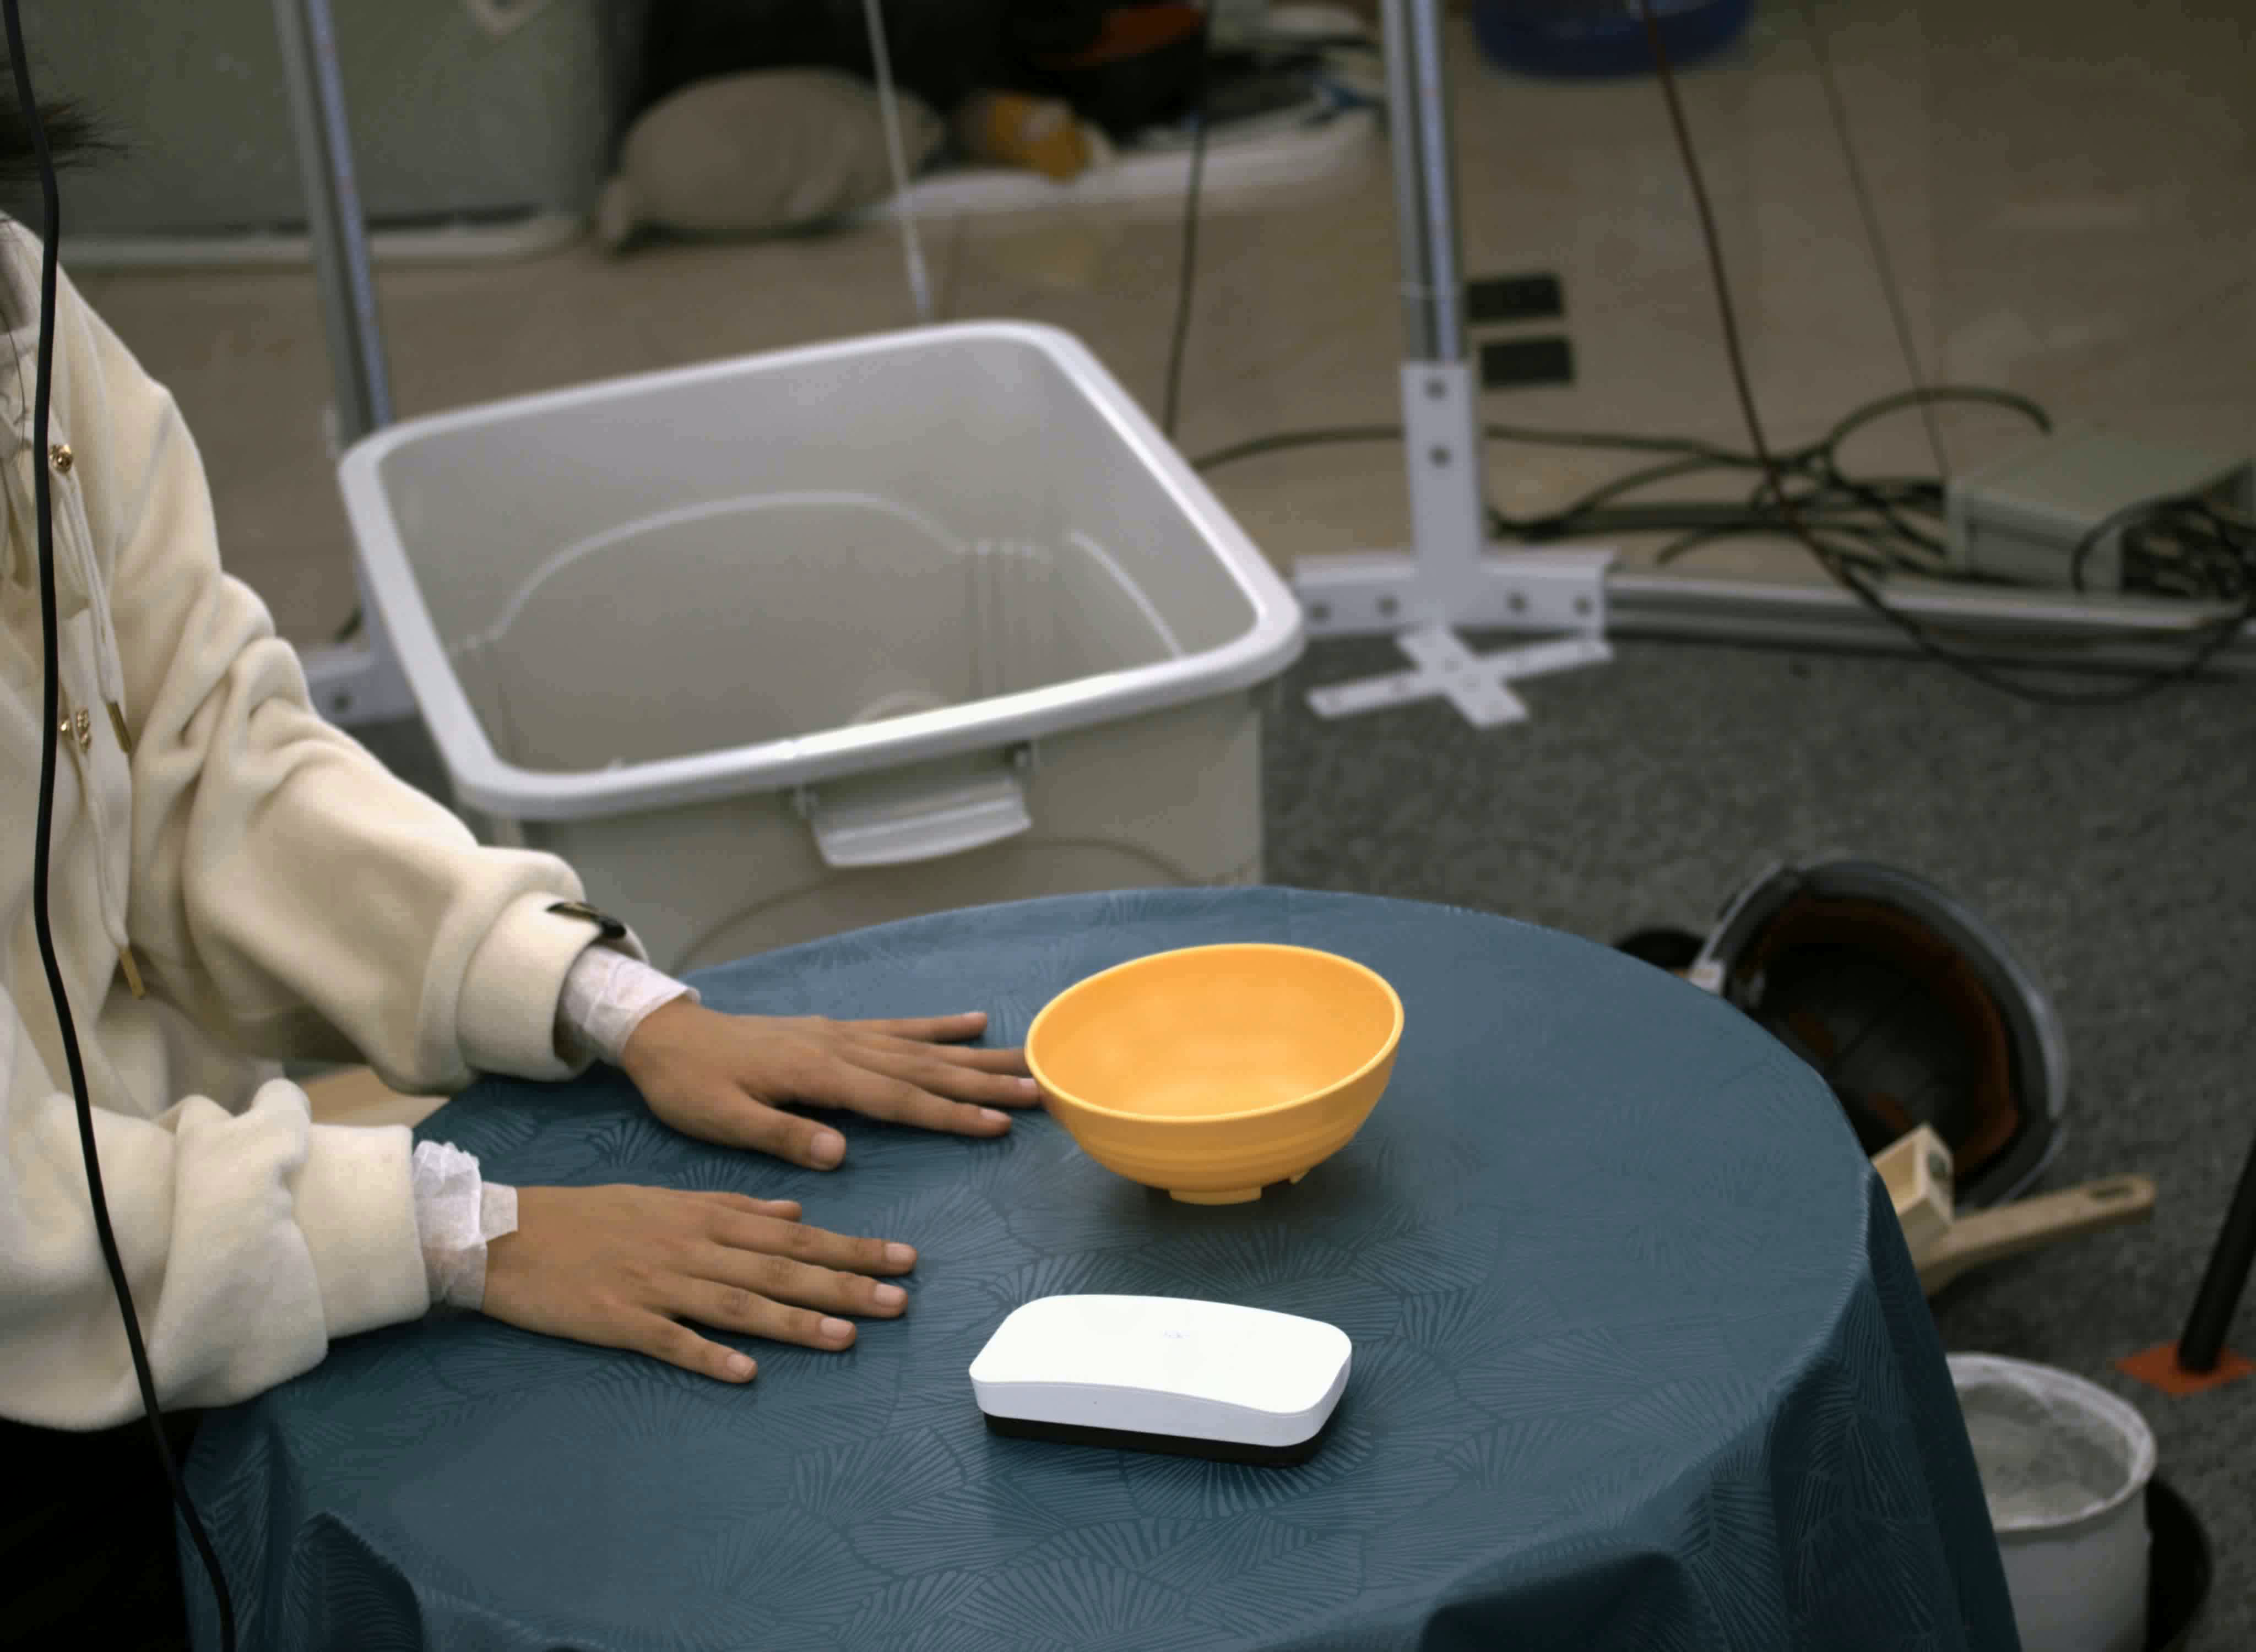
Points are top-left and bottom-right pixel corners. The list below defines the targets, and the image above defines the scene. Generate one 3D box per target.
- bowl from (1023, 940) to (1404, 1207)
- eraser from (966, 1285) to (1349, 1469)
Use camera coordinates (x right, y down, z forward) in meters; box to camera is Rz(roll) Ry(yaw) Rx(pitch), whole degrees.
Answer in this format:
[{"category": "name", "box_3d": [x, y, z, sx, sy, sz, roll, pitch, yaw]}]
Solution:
[{"category": "bowl", "box_3d": [0.034, 0.102, 2.149, 0.145, 0.061, 0.143, -4, 27, 2]}, {"category": "eraser", "box_3d": [0.011, 0.193, 1.993, 0.131, 0.035, 0.062, 5, 27, 21]}]
